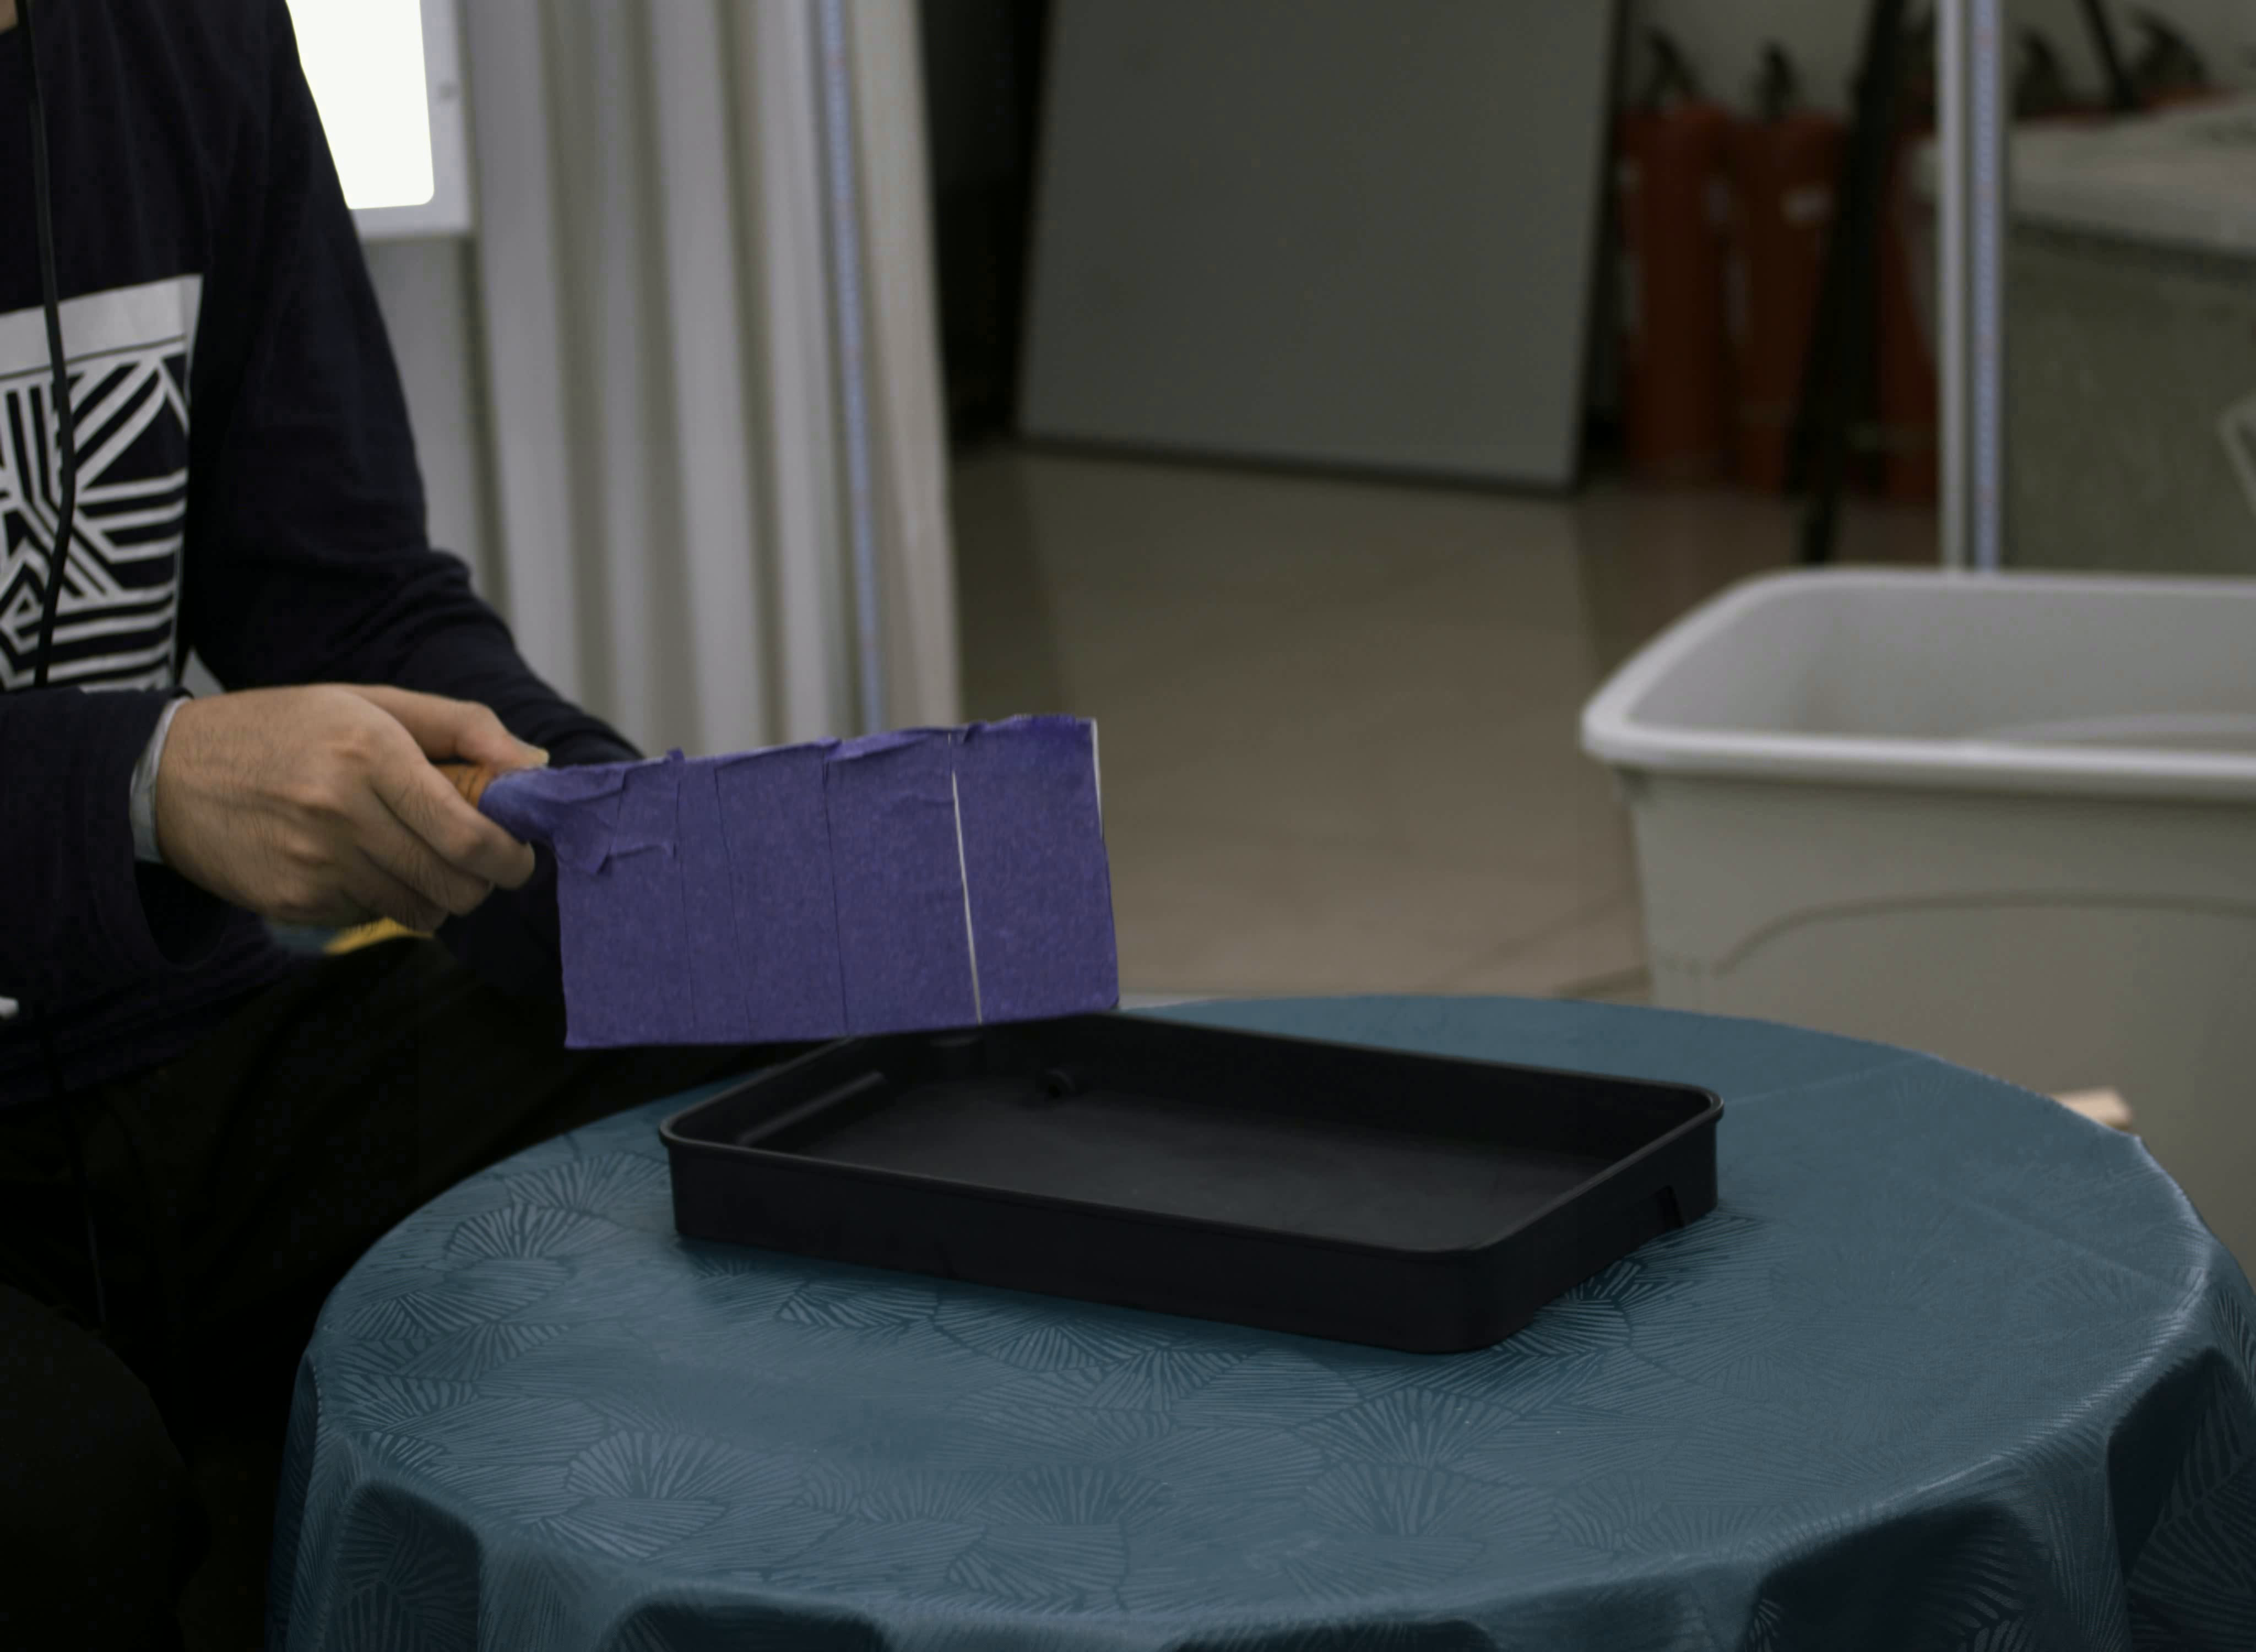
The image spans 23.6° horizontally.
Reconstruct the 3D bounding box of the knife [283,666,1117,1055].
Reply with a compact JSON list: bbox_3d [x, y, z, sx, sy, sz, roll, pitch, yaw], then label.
[{"bbox_3d":[-0.137,0.021,1.671,0.317,0.105,0.031,-8,-6,36],"label":"knife"}]

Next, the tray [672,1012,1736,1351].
[{"bbox_3d":[0.024,0.111,1.741,0.319,0.037,0.181,3,16,33],"label":"tray"}]
